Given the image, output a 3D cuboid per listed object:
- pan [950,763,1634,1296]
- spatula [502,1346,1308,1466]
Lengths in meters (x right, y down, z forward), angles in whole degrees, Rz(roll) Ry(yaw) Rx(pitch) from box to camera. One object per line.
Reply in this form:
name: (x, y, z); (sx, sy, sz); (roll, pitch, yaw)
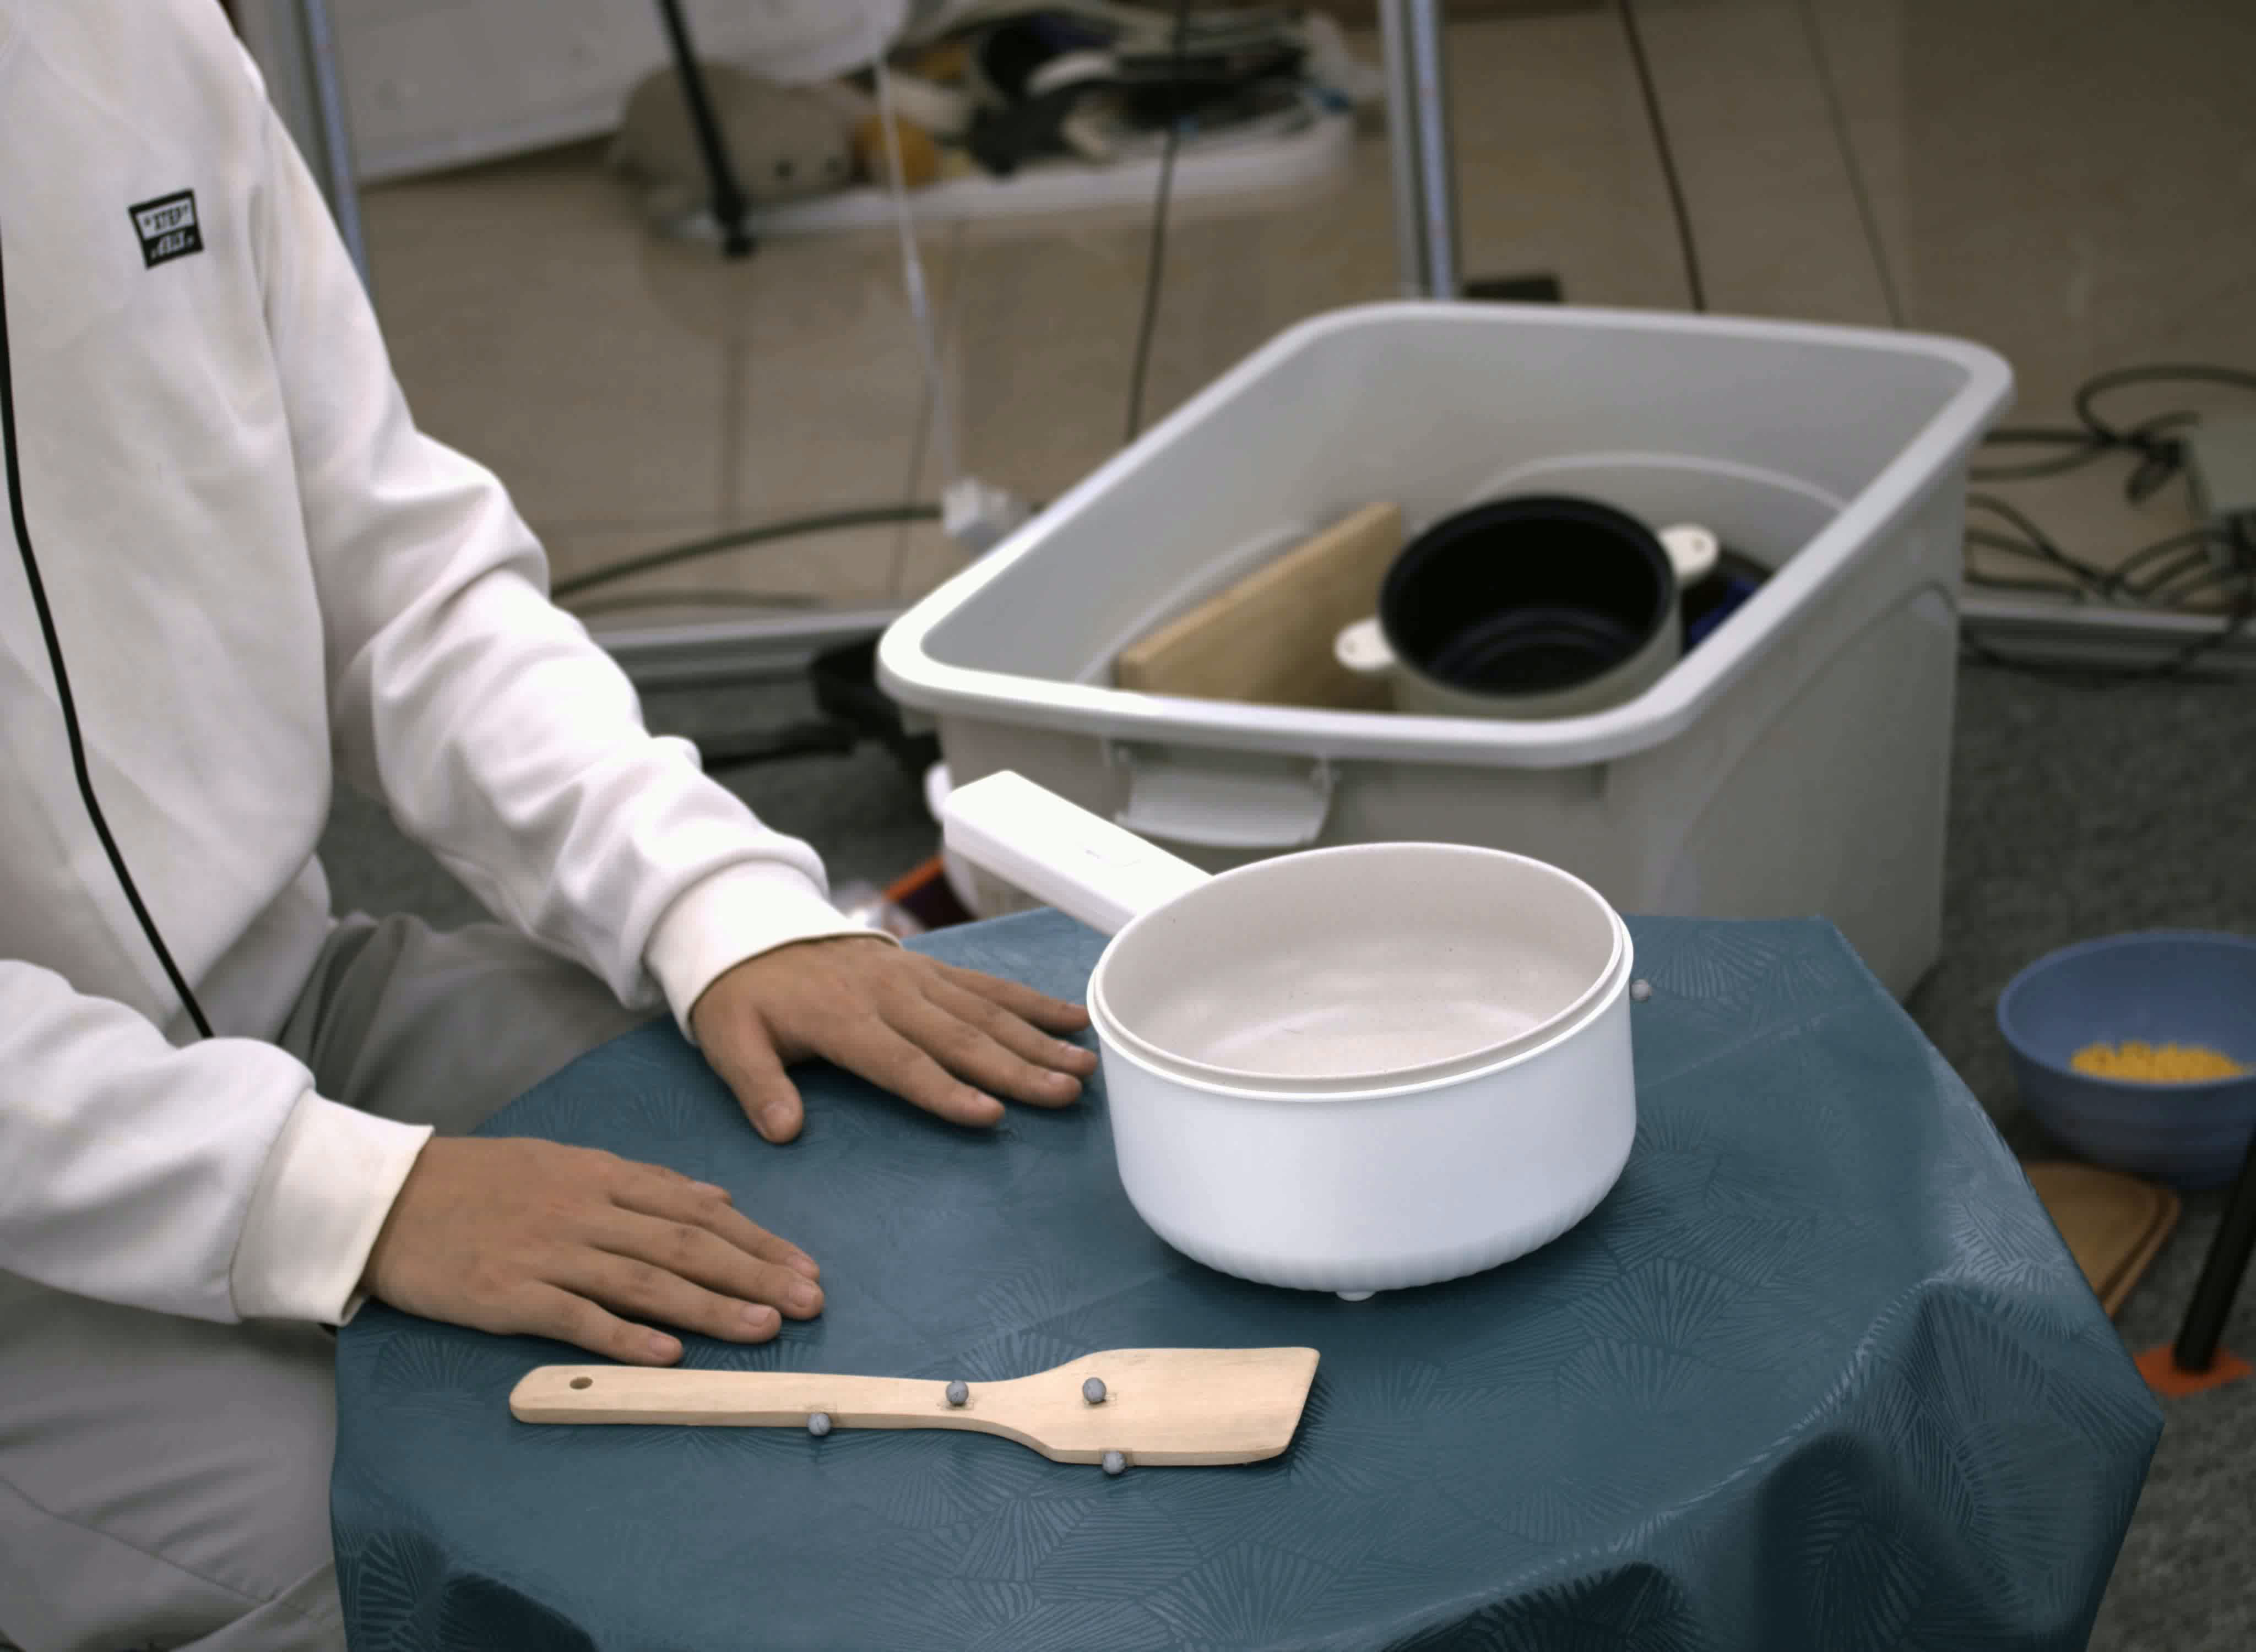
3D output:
pan: (0.045, 0.071, 2.160); (0.200, 0.104, 0.351); (-22, 28, -29)
spatula: (-0.083, 0.204, 2.016); (0.292, 0.011, 0.071); (0, 27, 13)
